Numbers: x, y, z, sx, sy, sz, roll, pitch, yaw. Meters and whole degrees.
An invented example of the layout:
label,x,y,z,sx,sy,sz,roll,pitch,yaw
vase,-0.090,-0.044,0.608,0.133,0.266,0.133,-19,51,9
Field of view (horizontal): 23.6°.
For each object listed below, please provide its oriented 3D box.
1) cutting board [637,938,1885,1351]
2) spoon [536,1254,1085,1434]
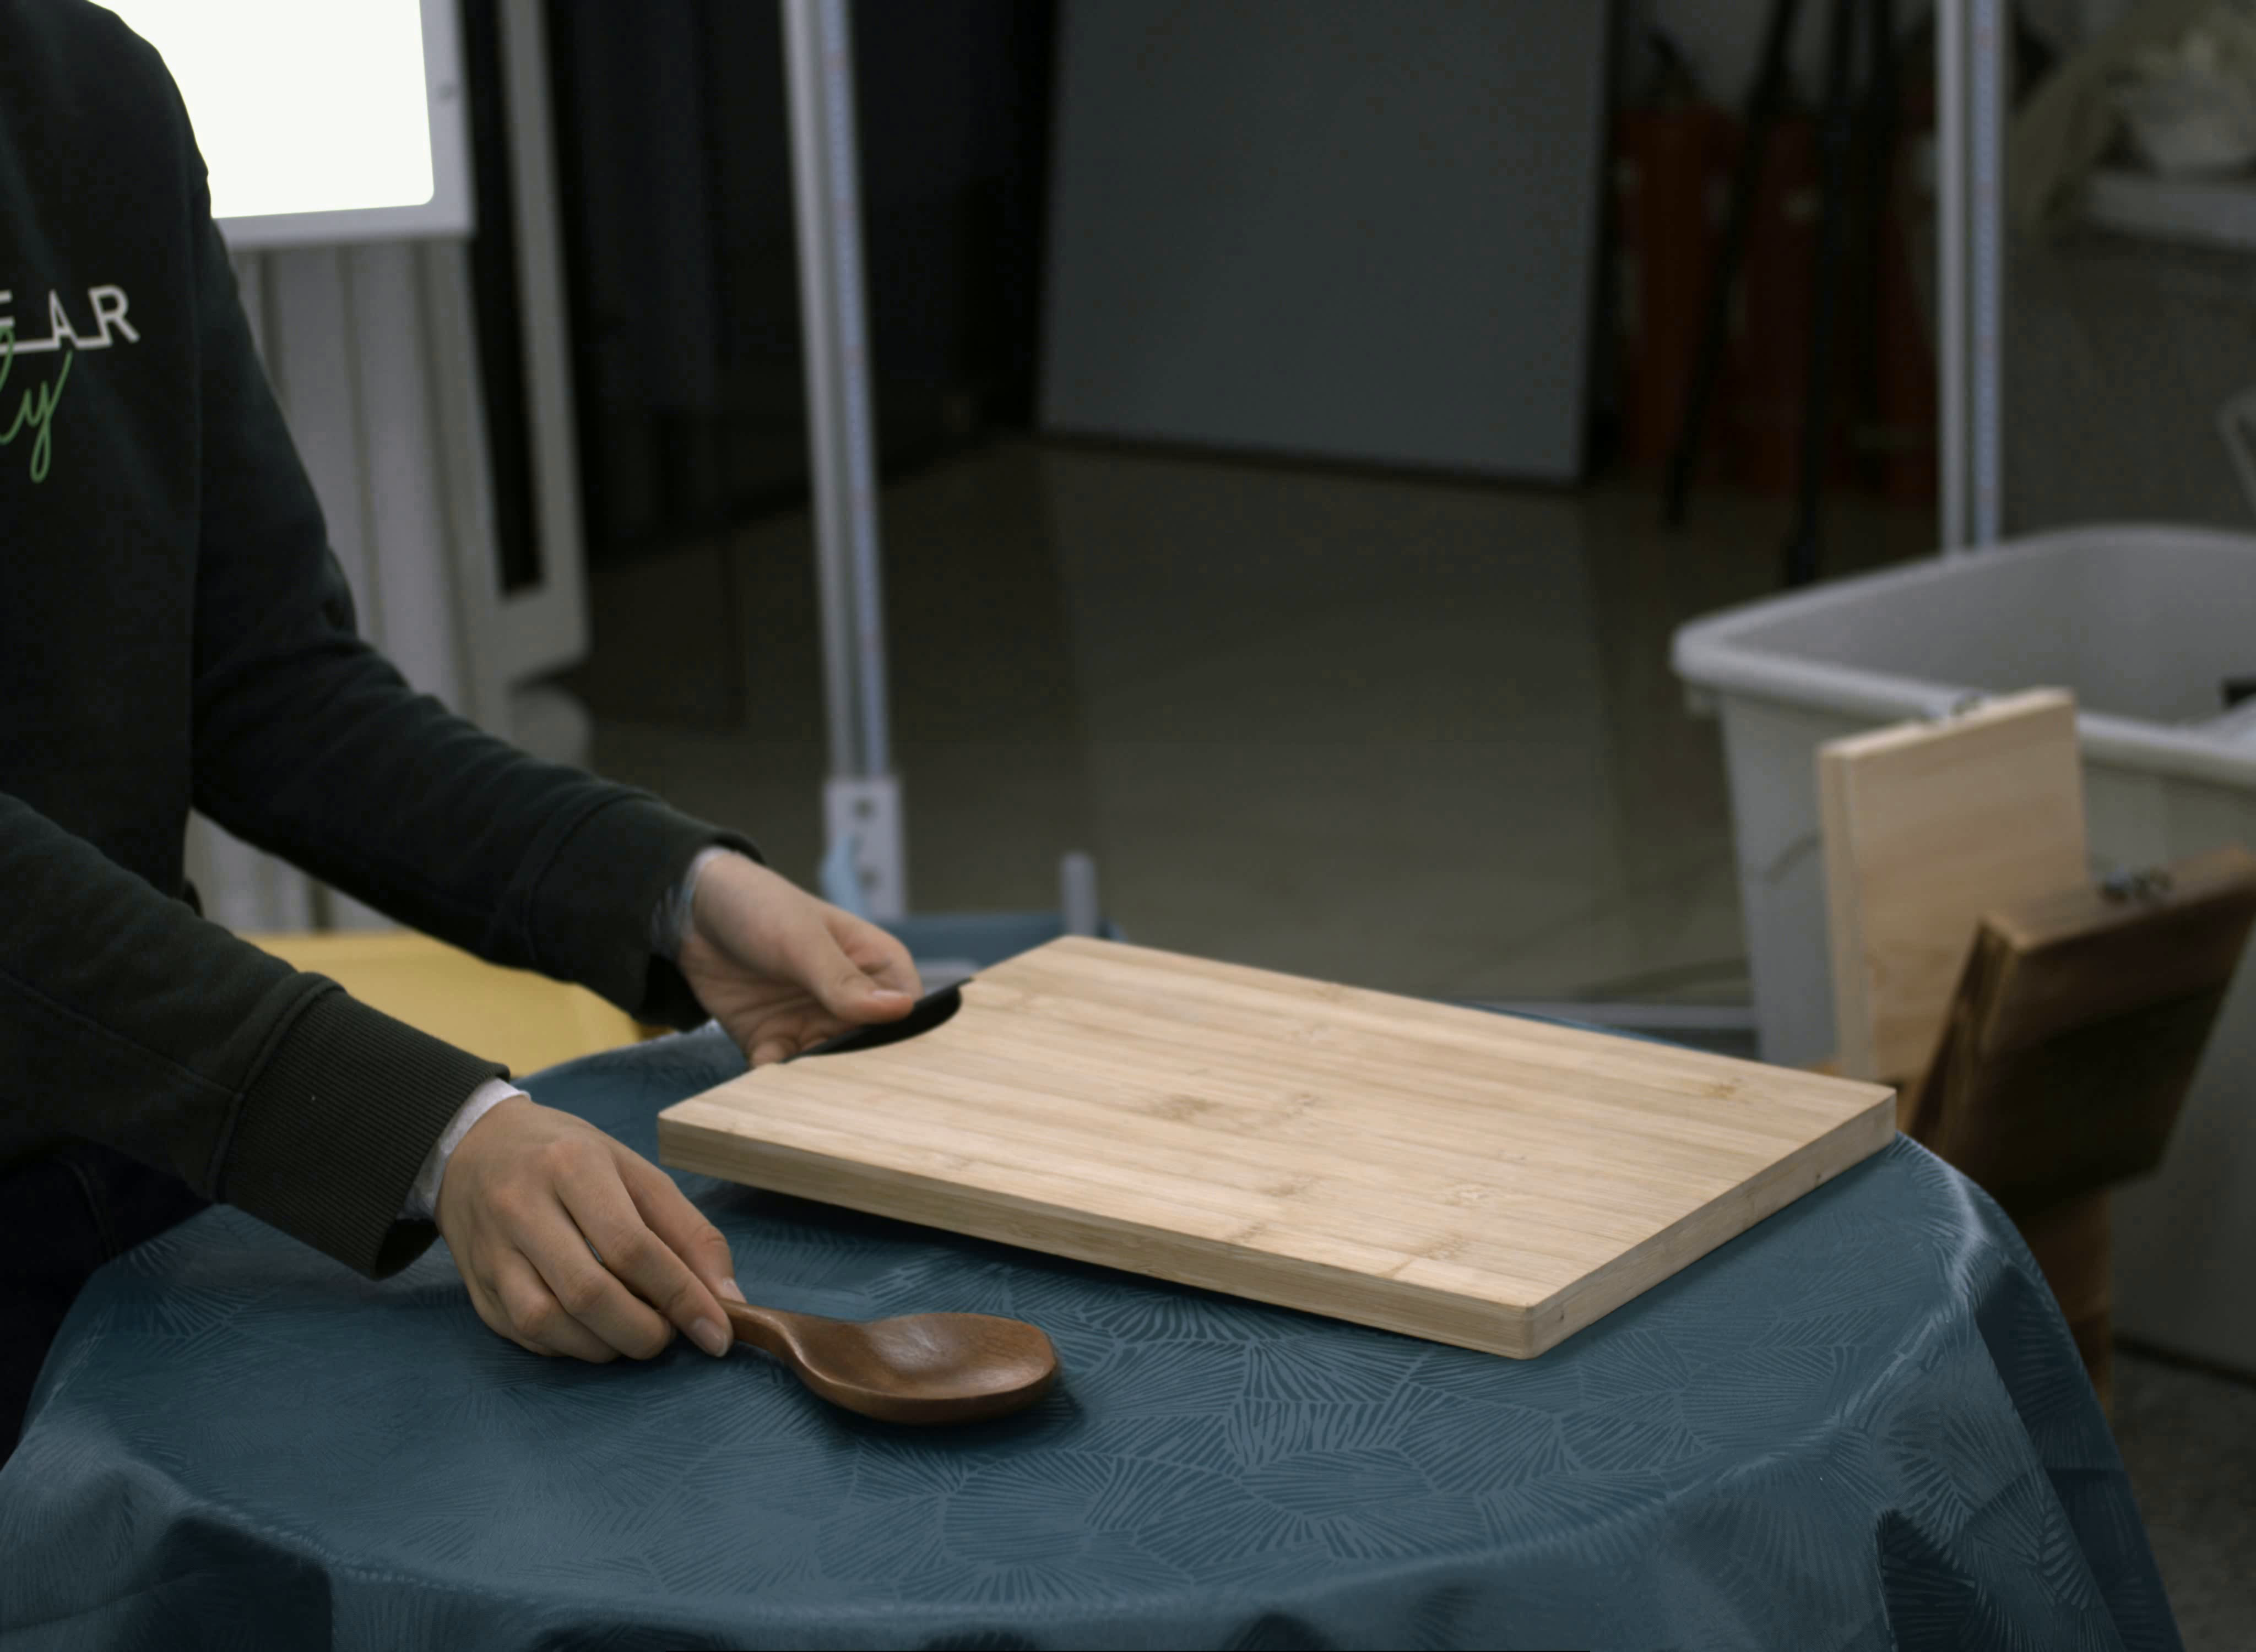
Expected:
label,x,y,z,sx,sy,sz,roll,pitch,yaw
cutting board,0.043,0.099,1.780,0.351,0.024,0.246,9,18,34
spoon,-0.101,0.155,1.628,0.218,0.017,0.074,9,21,42
